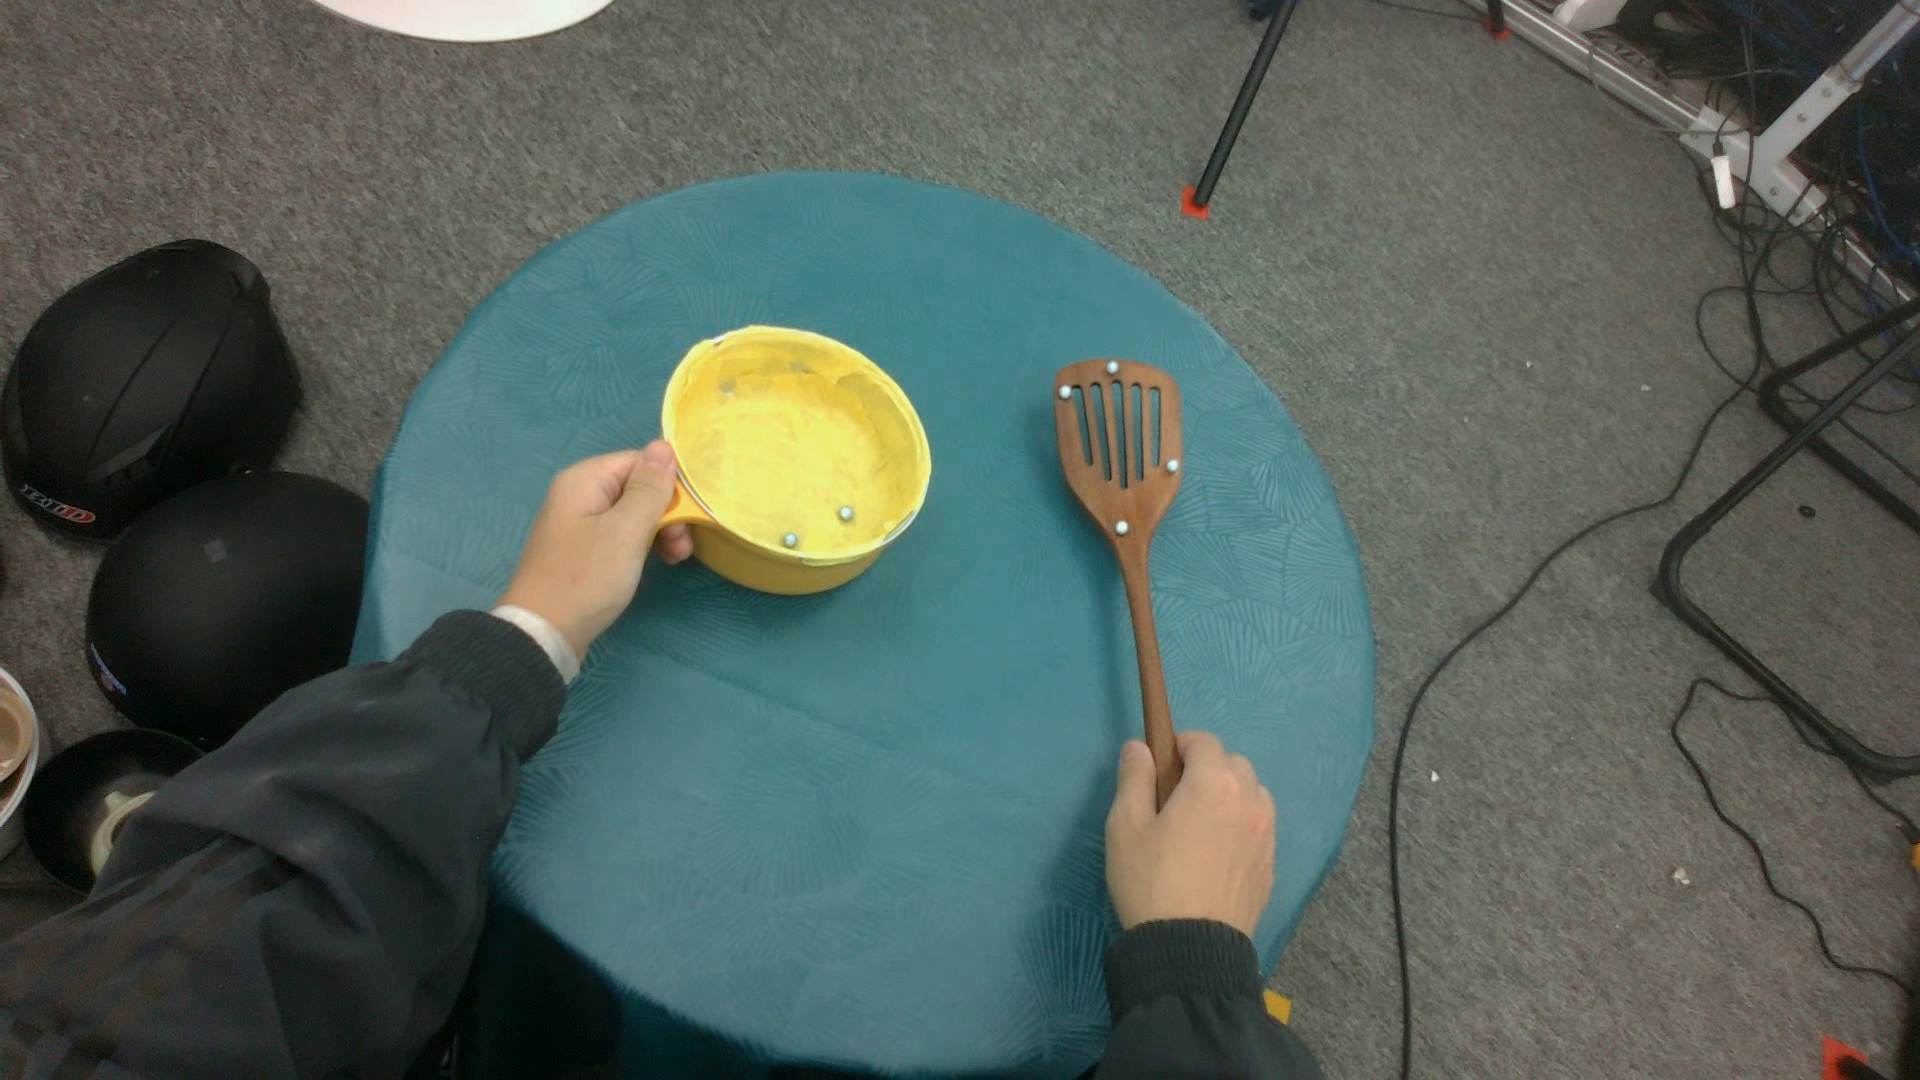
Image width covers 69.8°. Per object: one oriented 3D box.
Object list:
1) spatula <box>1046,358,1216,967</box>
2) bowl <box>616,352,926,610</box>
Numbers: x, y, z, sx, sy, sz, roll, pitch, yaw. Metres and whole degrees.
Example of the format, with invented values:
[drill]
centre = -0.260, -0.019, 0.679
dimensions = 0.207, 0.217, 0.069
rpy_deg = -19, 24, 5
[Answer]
[spatula]
centre = 0.109, 0.054, 0.811
dimensions = 0.085, 0.024, 0.388
rpy_deg = -1, 60, -6
[bowl]
centre = -0.113, -0.025, 0.787
dimensions = 0.153, 0.074, 0.180
rpy_deg = 47, 52, 11
